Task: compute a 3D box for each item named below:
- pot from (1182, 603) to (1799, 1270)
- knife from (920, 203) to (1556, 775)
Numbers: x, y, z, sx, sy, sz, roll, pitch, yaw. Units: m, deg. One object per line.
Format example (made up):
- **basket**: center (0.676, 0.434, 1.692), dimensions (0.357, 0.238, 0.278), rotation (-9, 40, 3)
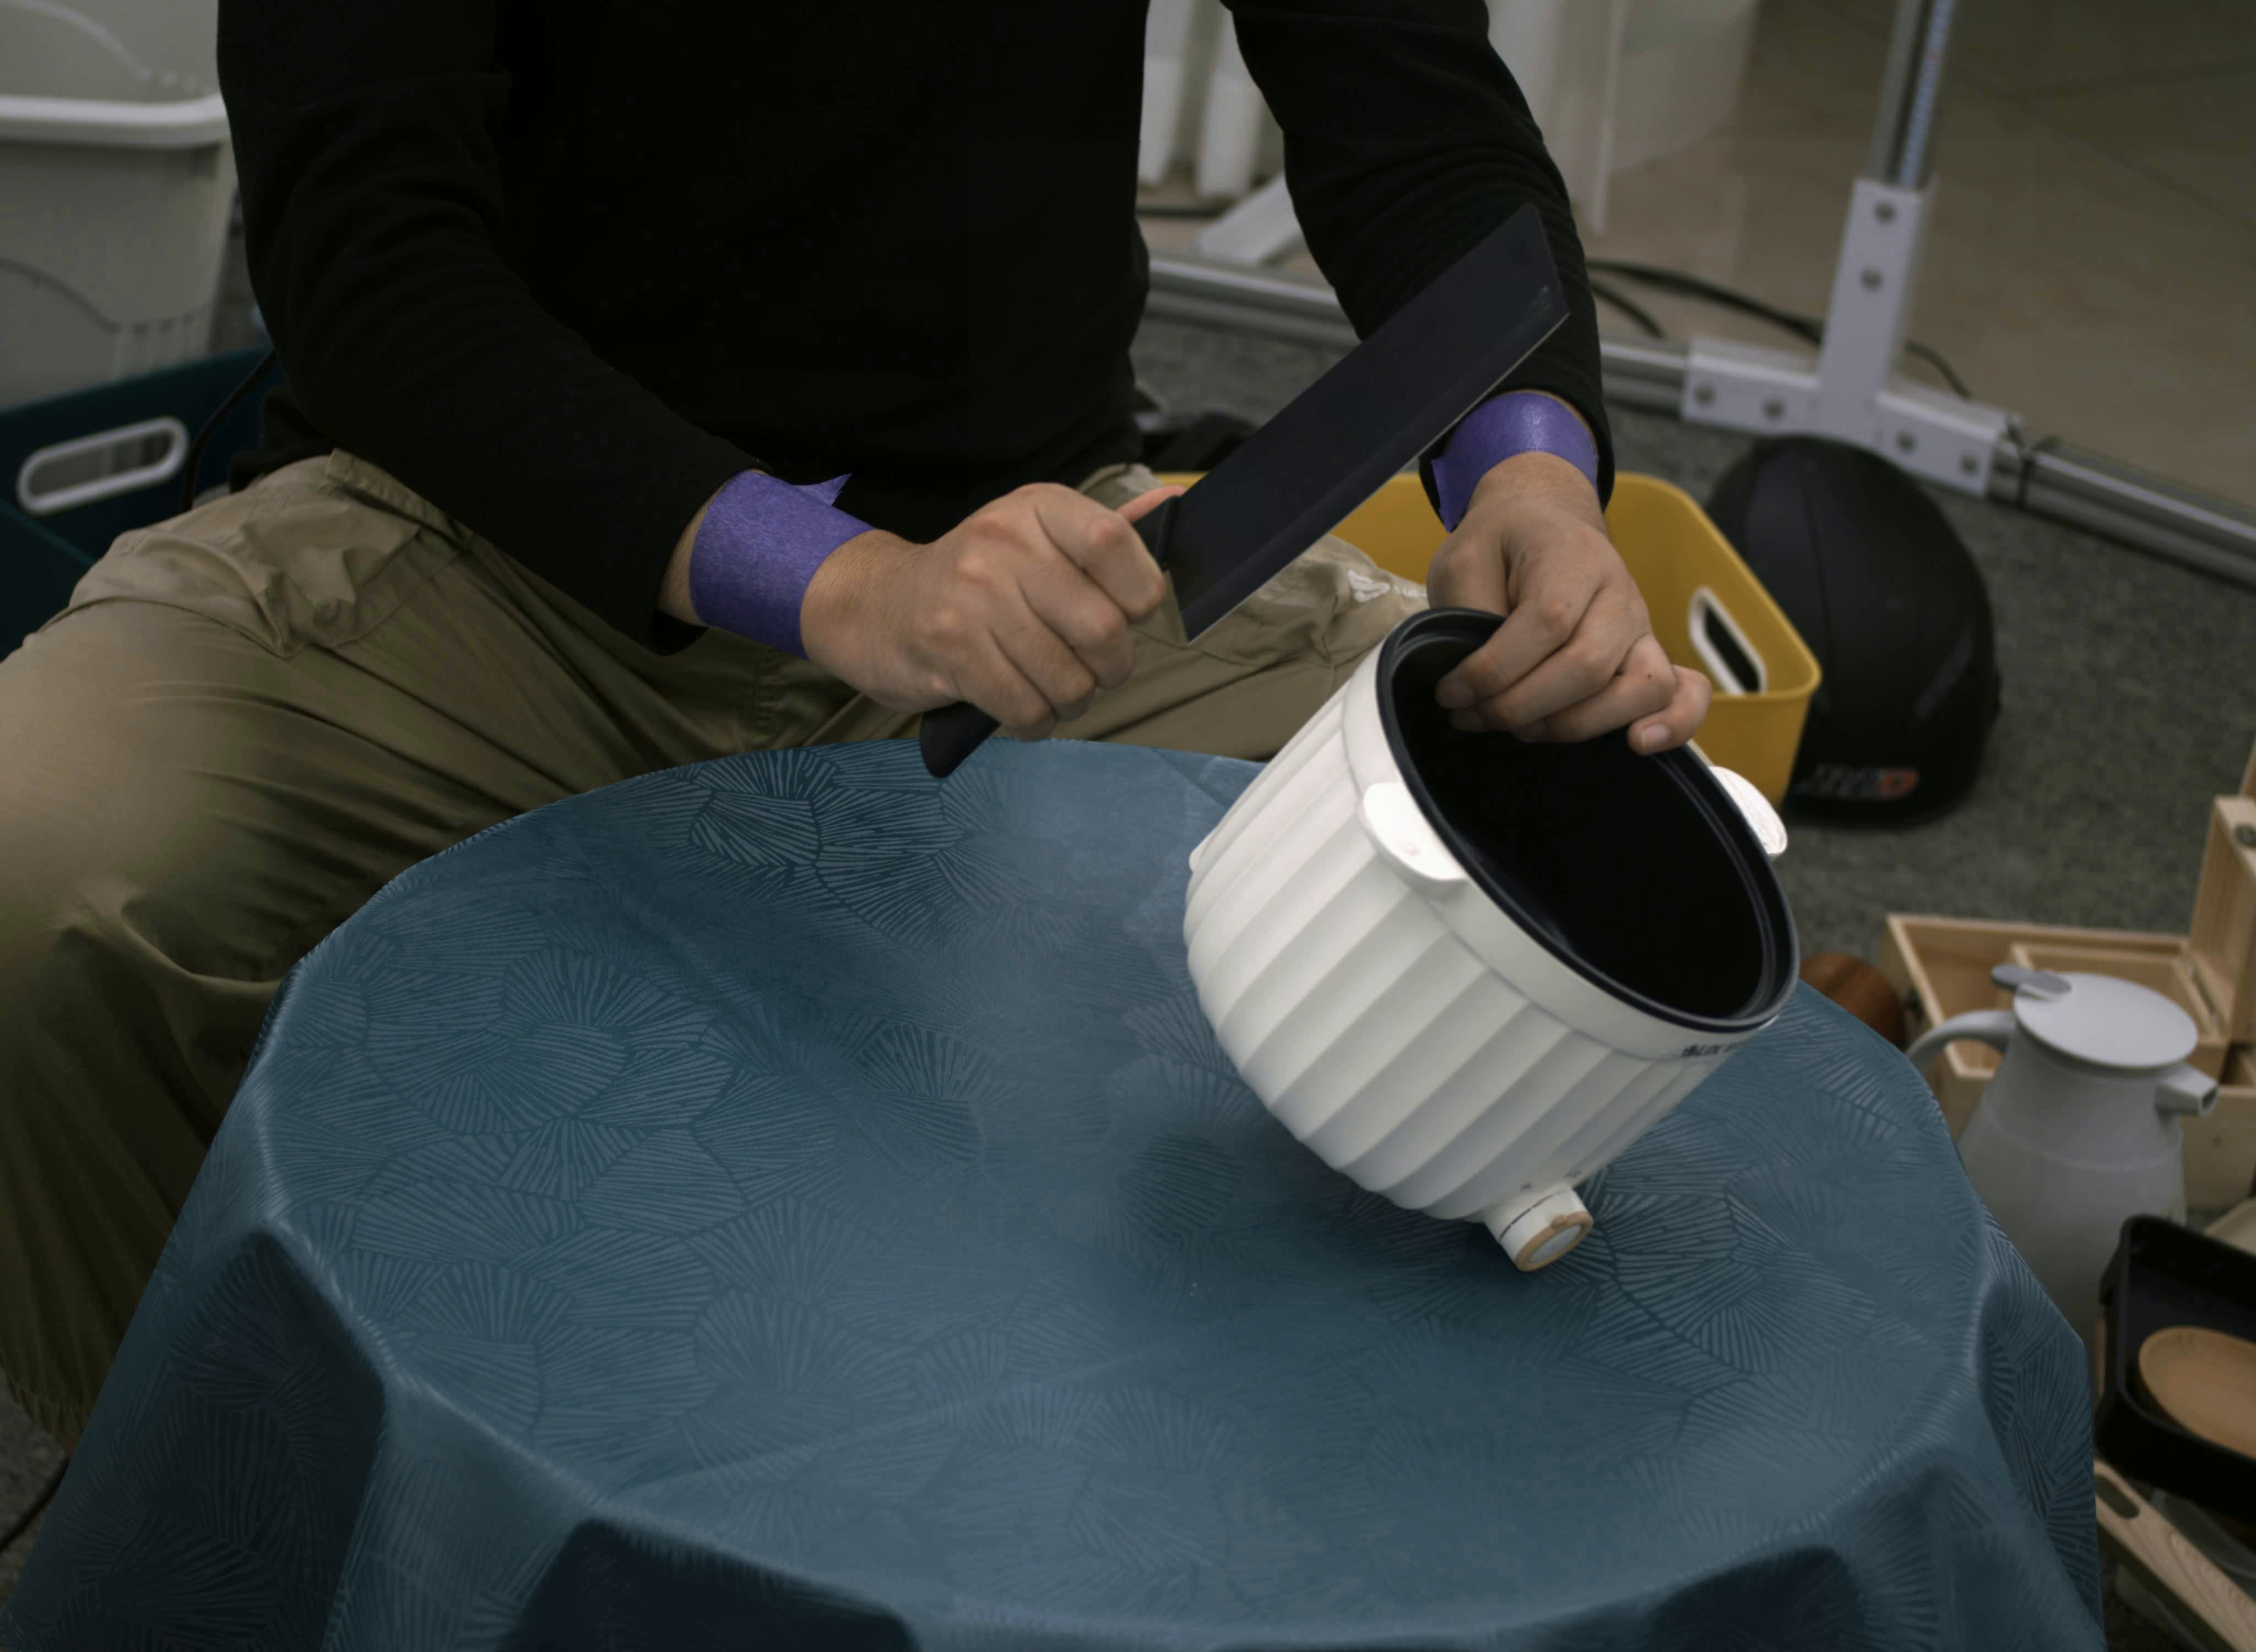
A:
- **pot**: center (0.118, 0.041, 1.796), dimensions (0.239, 0.142, 0.192), rotation (-4, 51, -52)
- **knife**: center (0.034, -0.105, 1.828), dimensions (0.020, 0.302, 0.081), rotation (31, 38, -33)
